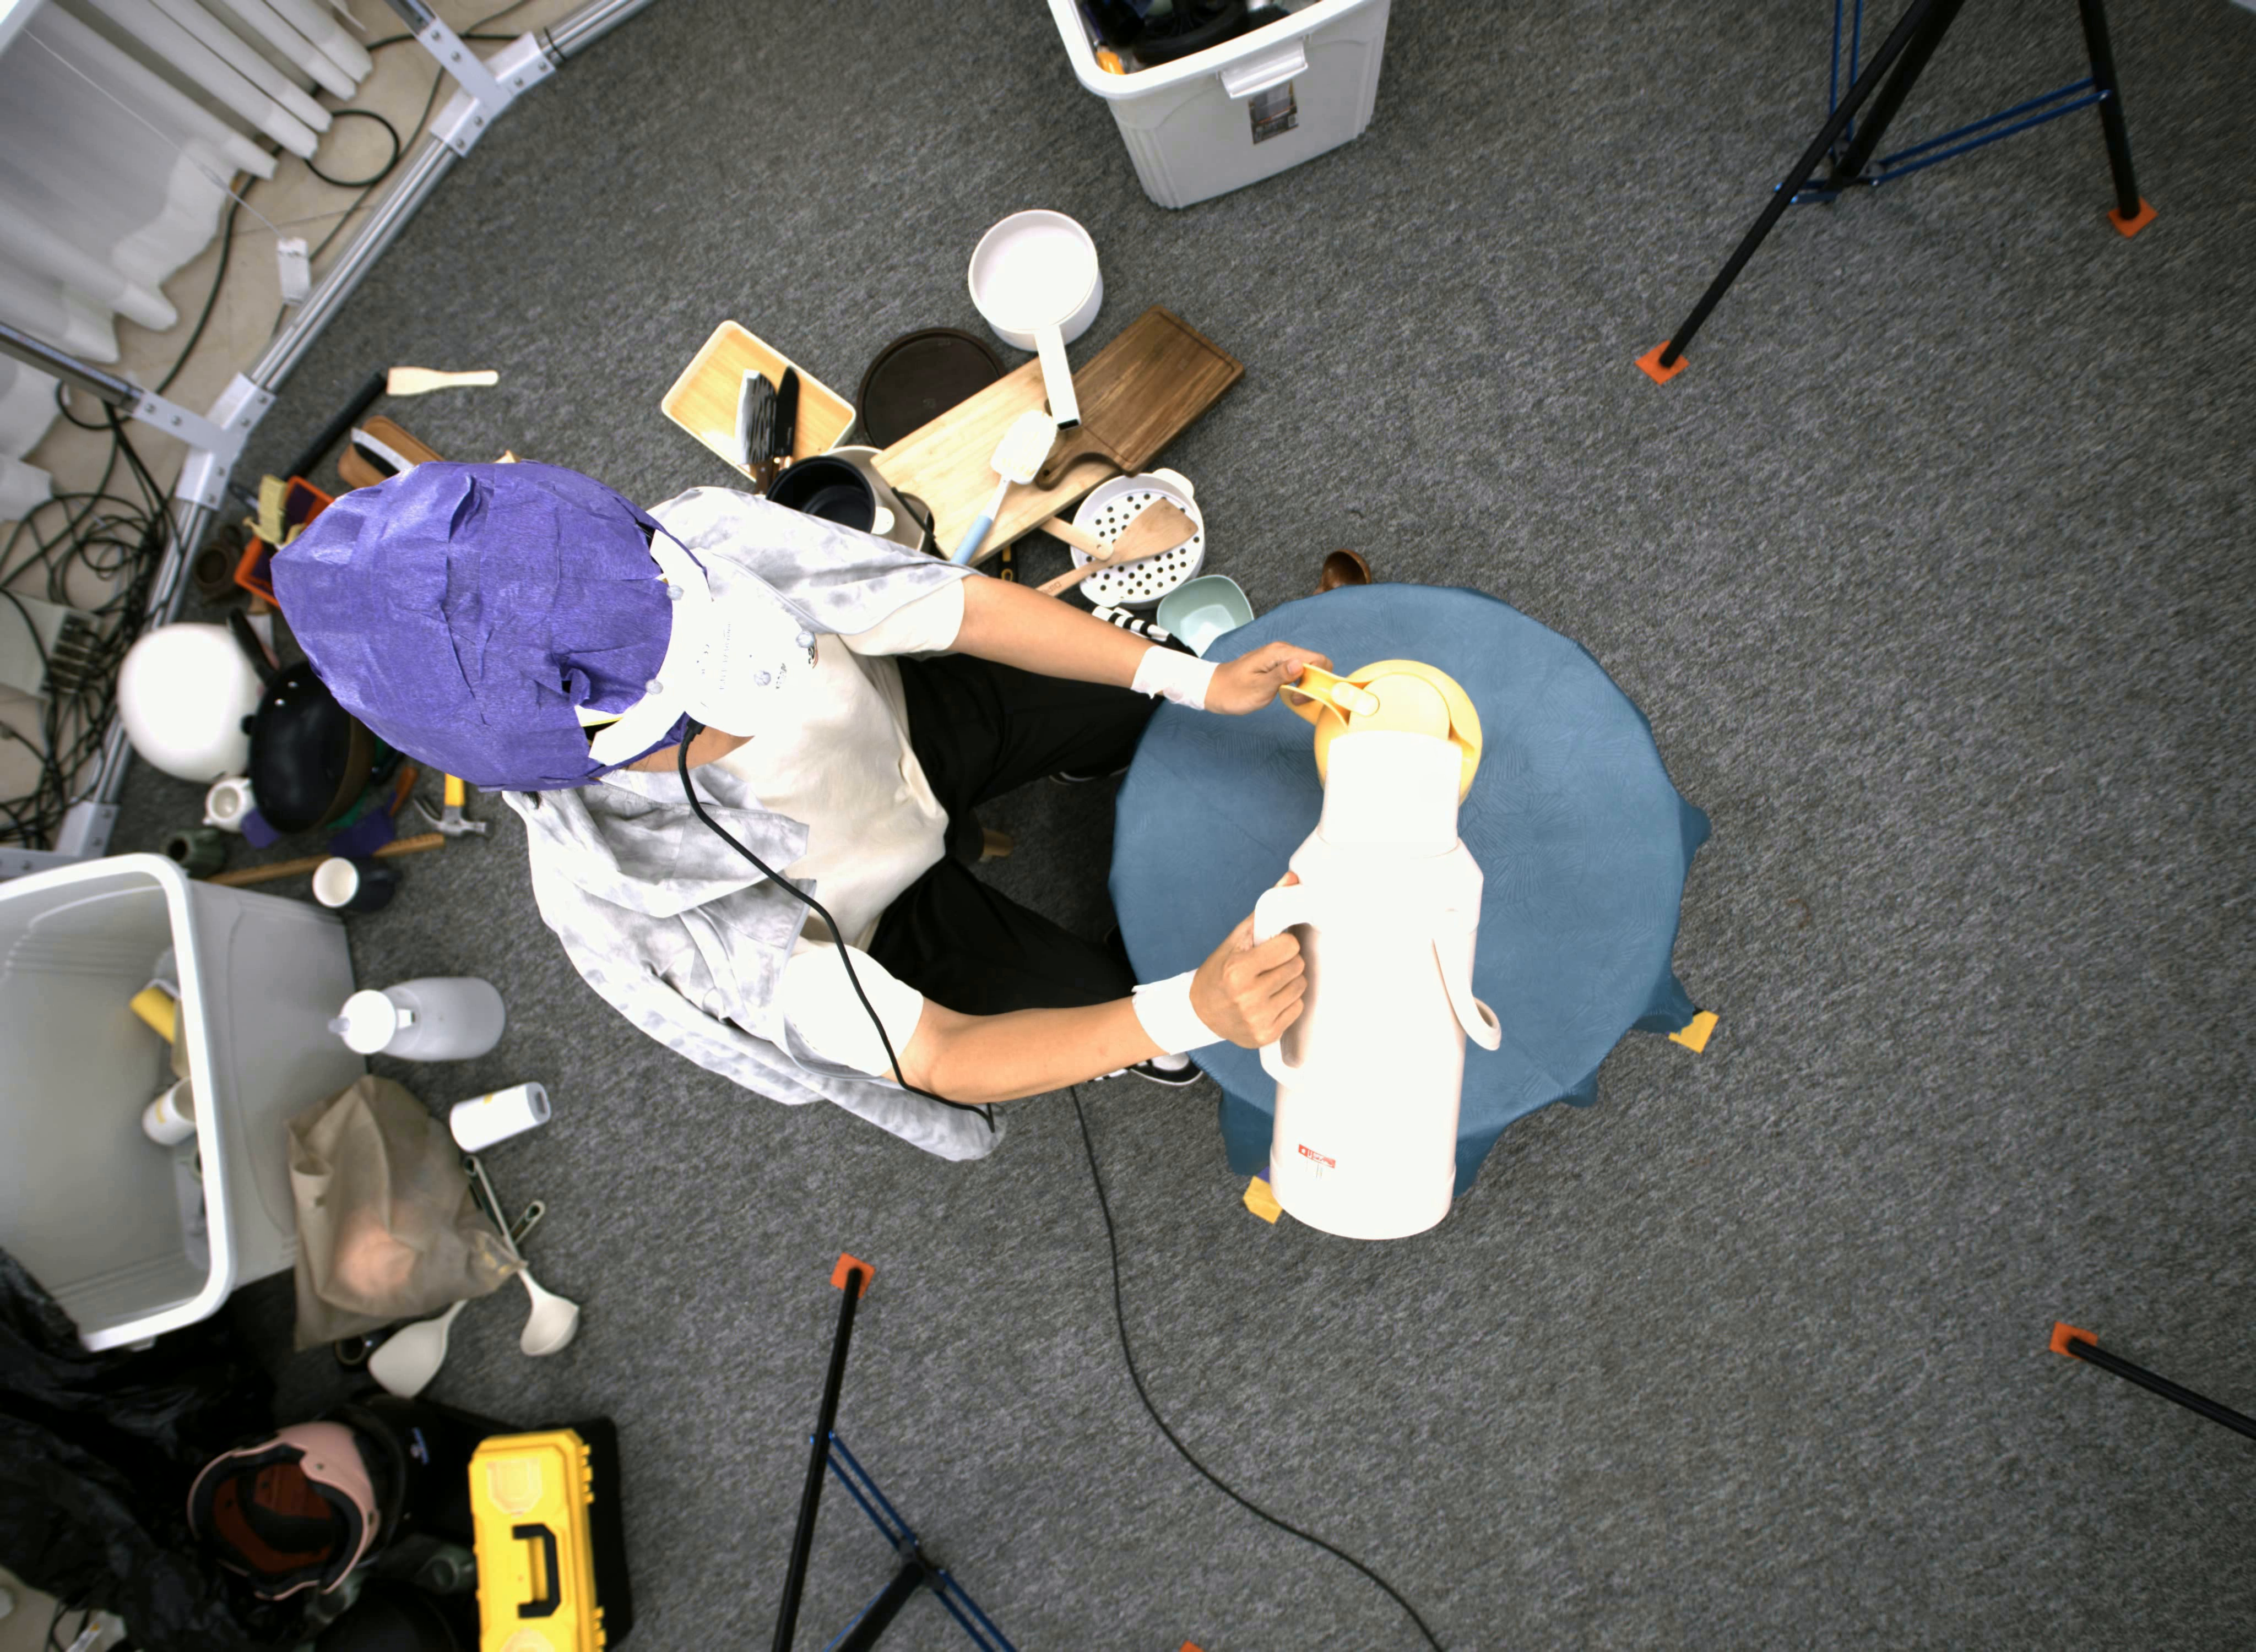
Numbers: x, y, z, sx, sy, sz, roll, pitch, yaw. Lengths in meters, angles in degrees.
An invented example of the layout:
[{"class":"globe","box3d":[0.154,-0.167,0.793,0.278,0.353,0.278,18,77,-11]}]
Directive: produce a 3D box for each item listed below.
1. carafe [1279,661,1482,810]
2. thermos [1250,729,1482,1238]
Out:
[{"class":"carafe","box3d":[0.244,-0.090,1.339,0.202,0.261,0.163,30,88,10]},{"class":"thermos","box3d":[0.192,0.128,1.144,0.205,0.174,0.413,-8,112,-25]}]
